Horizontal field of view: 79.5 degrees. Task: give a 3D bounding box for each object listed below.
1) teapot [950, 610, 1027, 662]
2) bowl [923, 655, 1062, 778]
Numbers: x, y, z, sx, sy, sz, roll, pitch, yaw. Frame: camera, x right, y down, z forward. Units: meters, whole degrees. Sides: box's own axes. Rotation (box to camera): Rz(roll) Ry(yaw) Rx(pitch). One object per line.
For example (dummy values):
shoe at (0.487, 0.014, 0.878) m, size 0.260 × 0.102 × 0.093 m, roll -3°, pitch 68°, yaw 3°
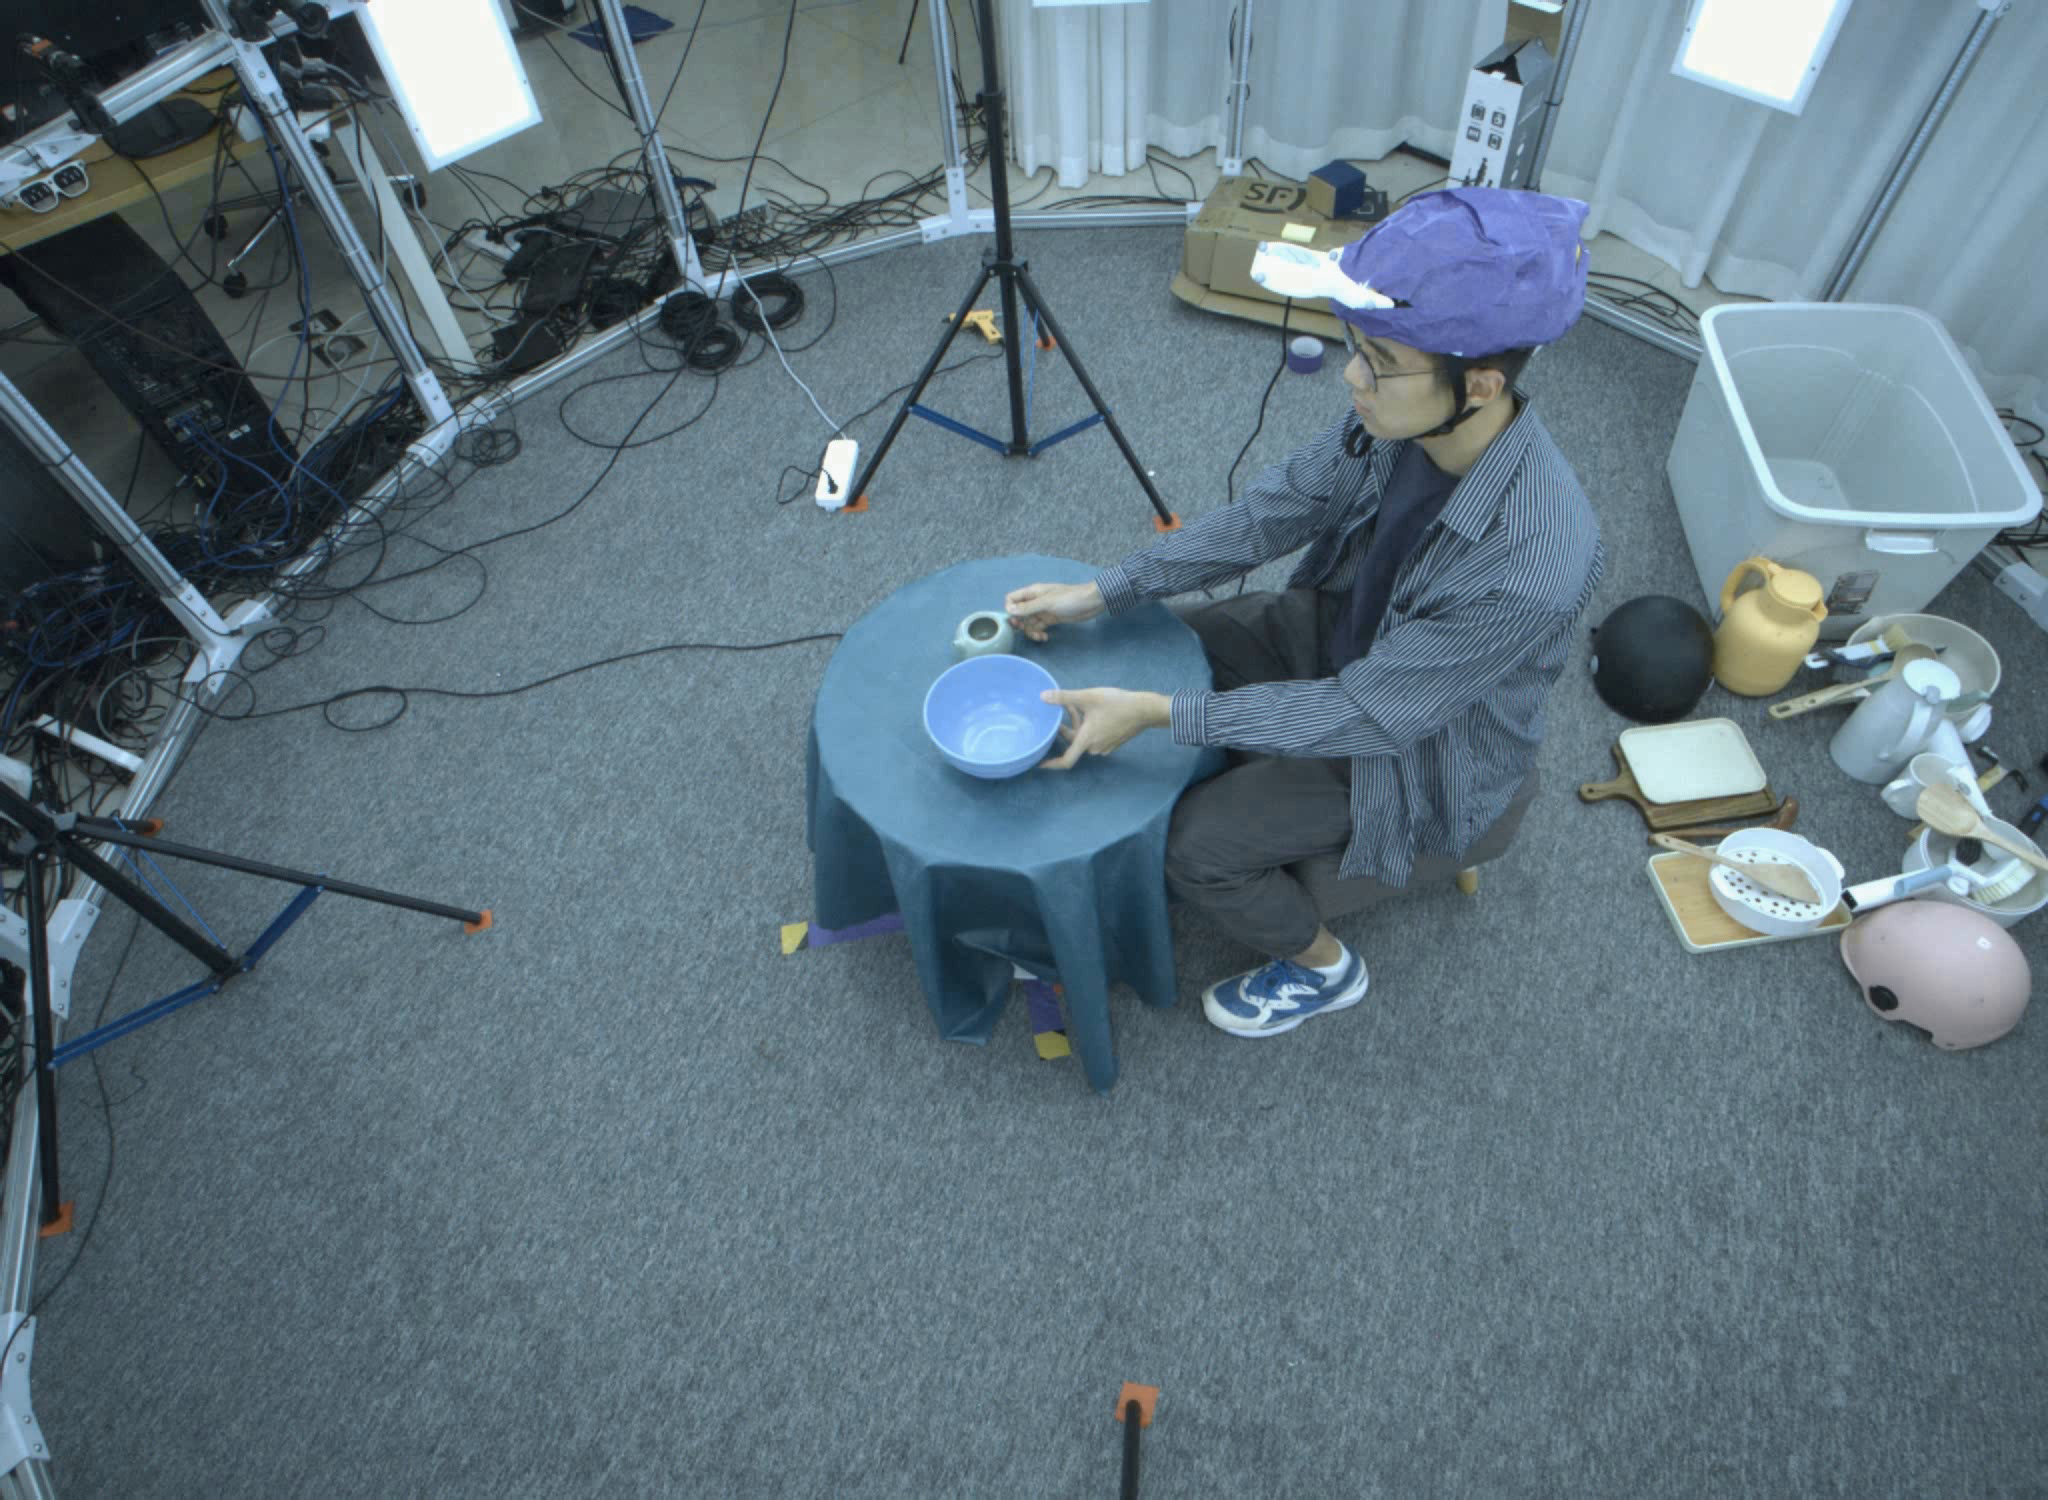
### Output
teapot at (-0.053, -0.174, 1.877) m, size 0.129 × 0.062 × 0.090 m, roll -26°, pitch 57°, yaw -12°
bowl at (-0.042, -0.033, 1.759) m, size 0.196 × 0.096 × 0.194 m, roll 0°, pitch 54°, yaw 2°
